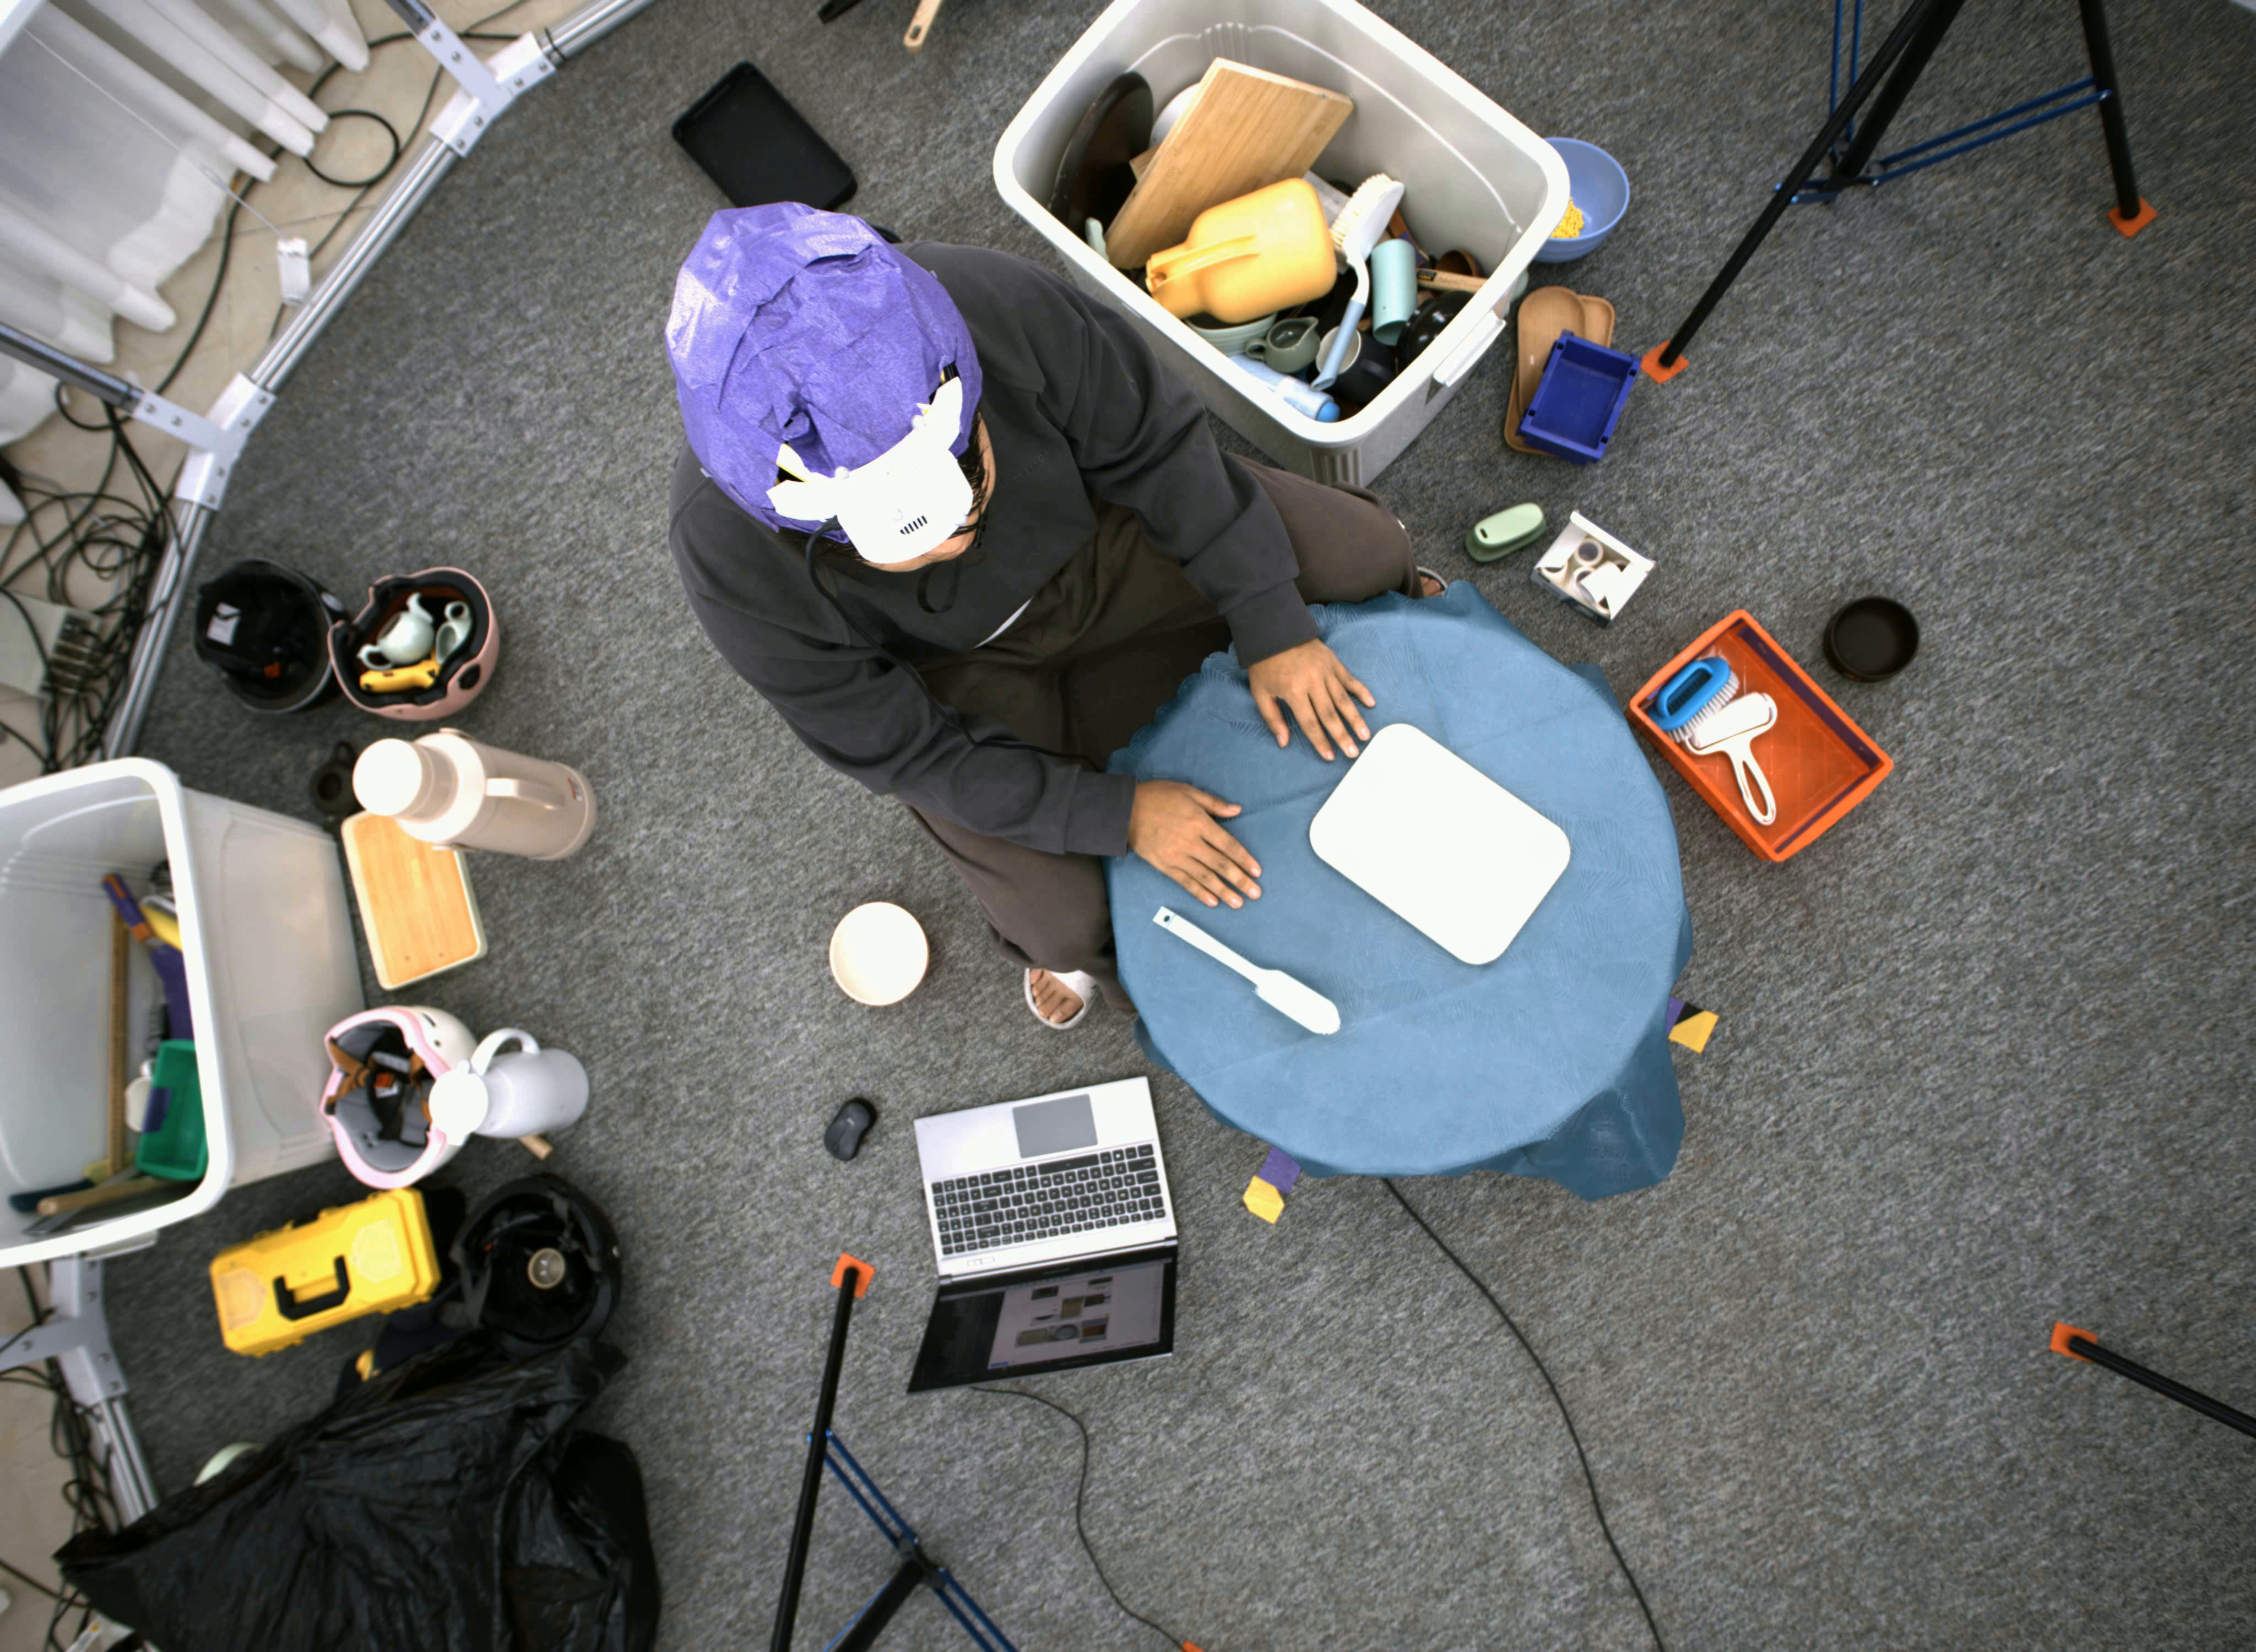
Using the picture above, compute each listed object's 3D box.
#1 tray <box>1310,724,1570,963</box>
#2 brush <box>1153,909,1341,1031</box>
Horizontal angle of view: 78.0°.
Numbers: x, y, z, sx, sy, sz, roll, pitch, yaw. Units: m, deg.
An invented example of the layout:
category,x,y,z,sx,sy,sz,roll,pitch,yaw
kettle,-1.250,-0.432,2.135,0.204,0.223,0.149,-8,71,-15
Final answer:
category,x,y,z,sx,sy,sz,roll,pitch,yaw
tray,0.325,0.016,1.444,0.239,0.017,0.171,37,93,11
brush,0.123,0.151,1.469,0.228,0.050,0.037,29,84,20
